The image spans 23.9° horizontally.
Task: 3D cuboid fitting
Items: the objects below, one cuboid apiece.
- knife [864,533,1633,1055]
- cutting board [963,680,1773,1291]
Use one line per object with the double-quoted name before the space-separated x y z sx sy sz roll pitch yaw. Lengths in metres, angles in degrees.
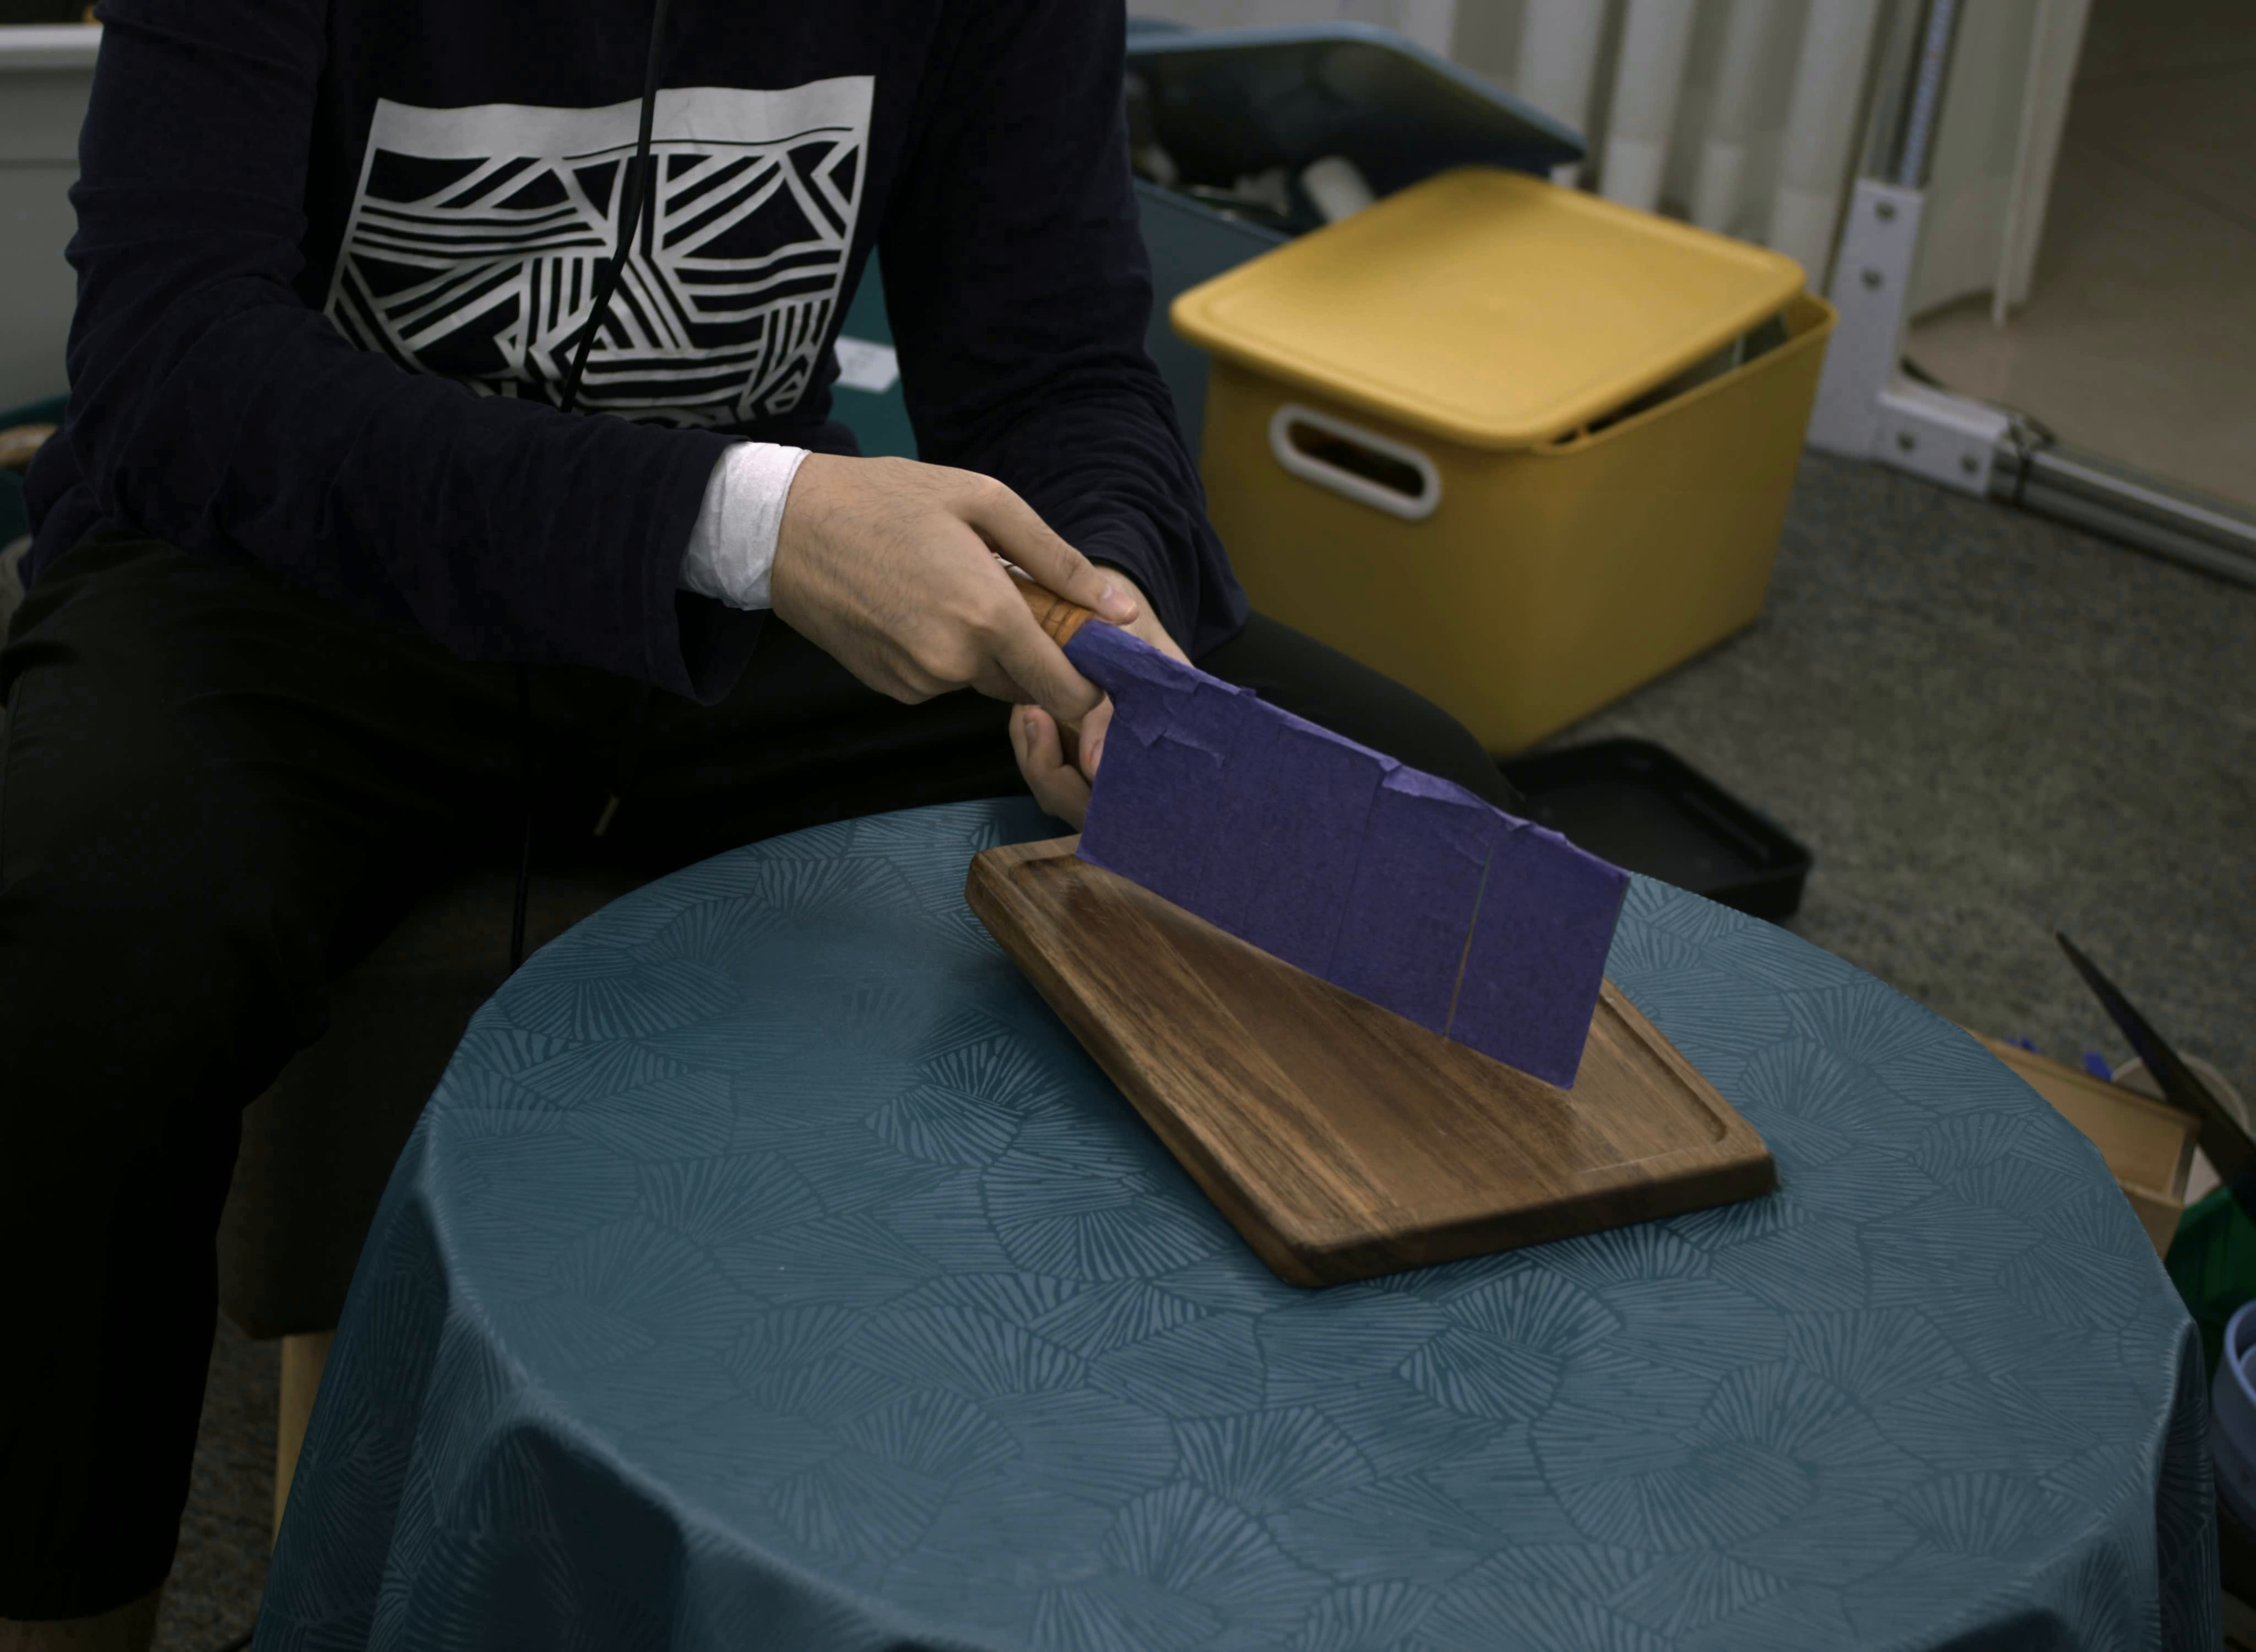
"knife" 0.033 -0.009 1.889 0.317 0.103 0.032 25 26 27
"cutting board" 0.059 0.043 1.922 0.200 0.023 0.355 -9 35 -27
